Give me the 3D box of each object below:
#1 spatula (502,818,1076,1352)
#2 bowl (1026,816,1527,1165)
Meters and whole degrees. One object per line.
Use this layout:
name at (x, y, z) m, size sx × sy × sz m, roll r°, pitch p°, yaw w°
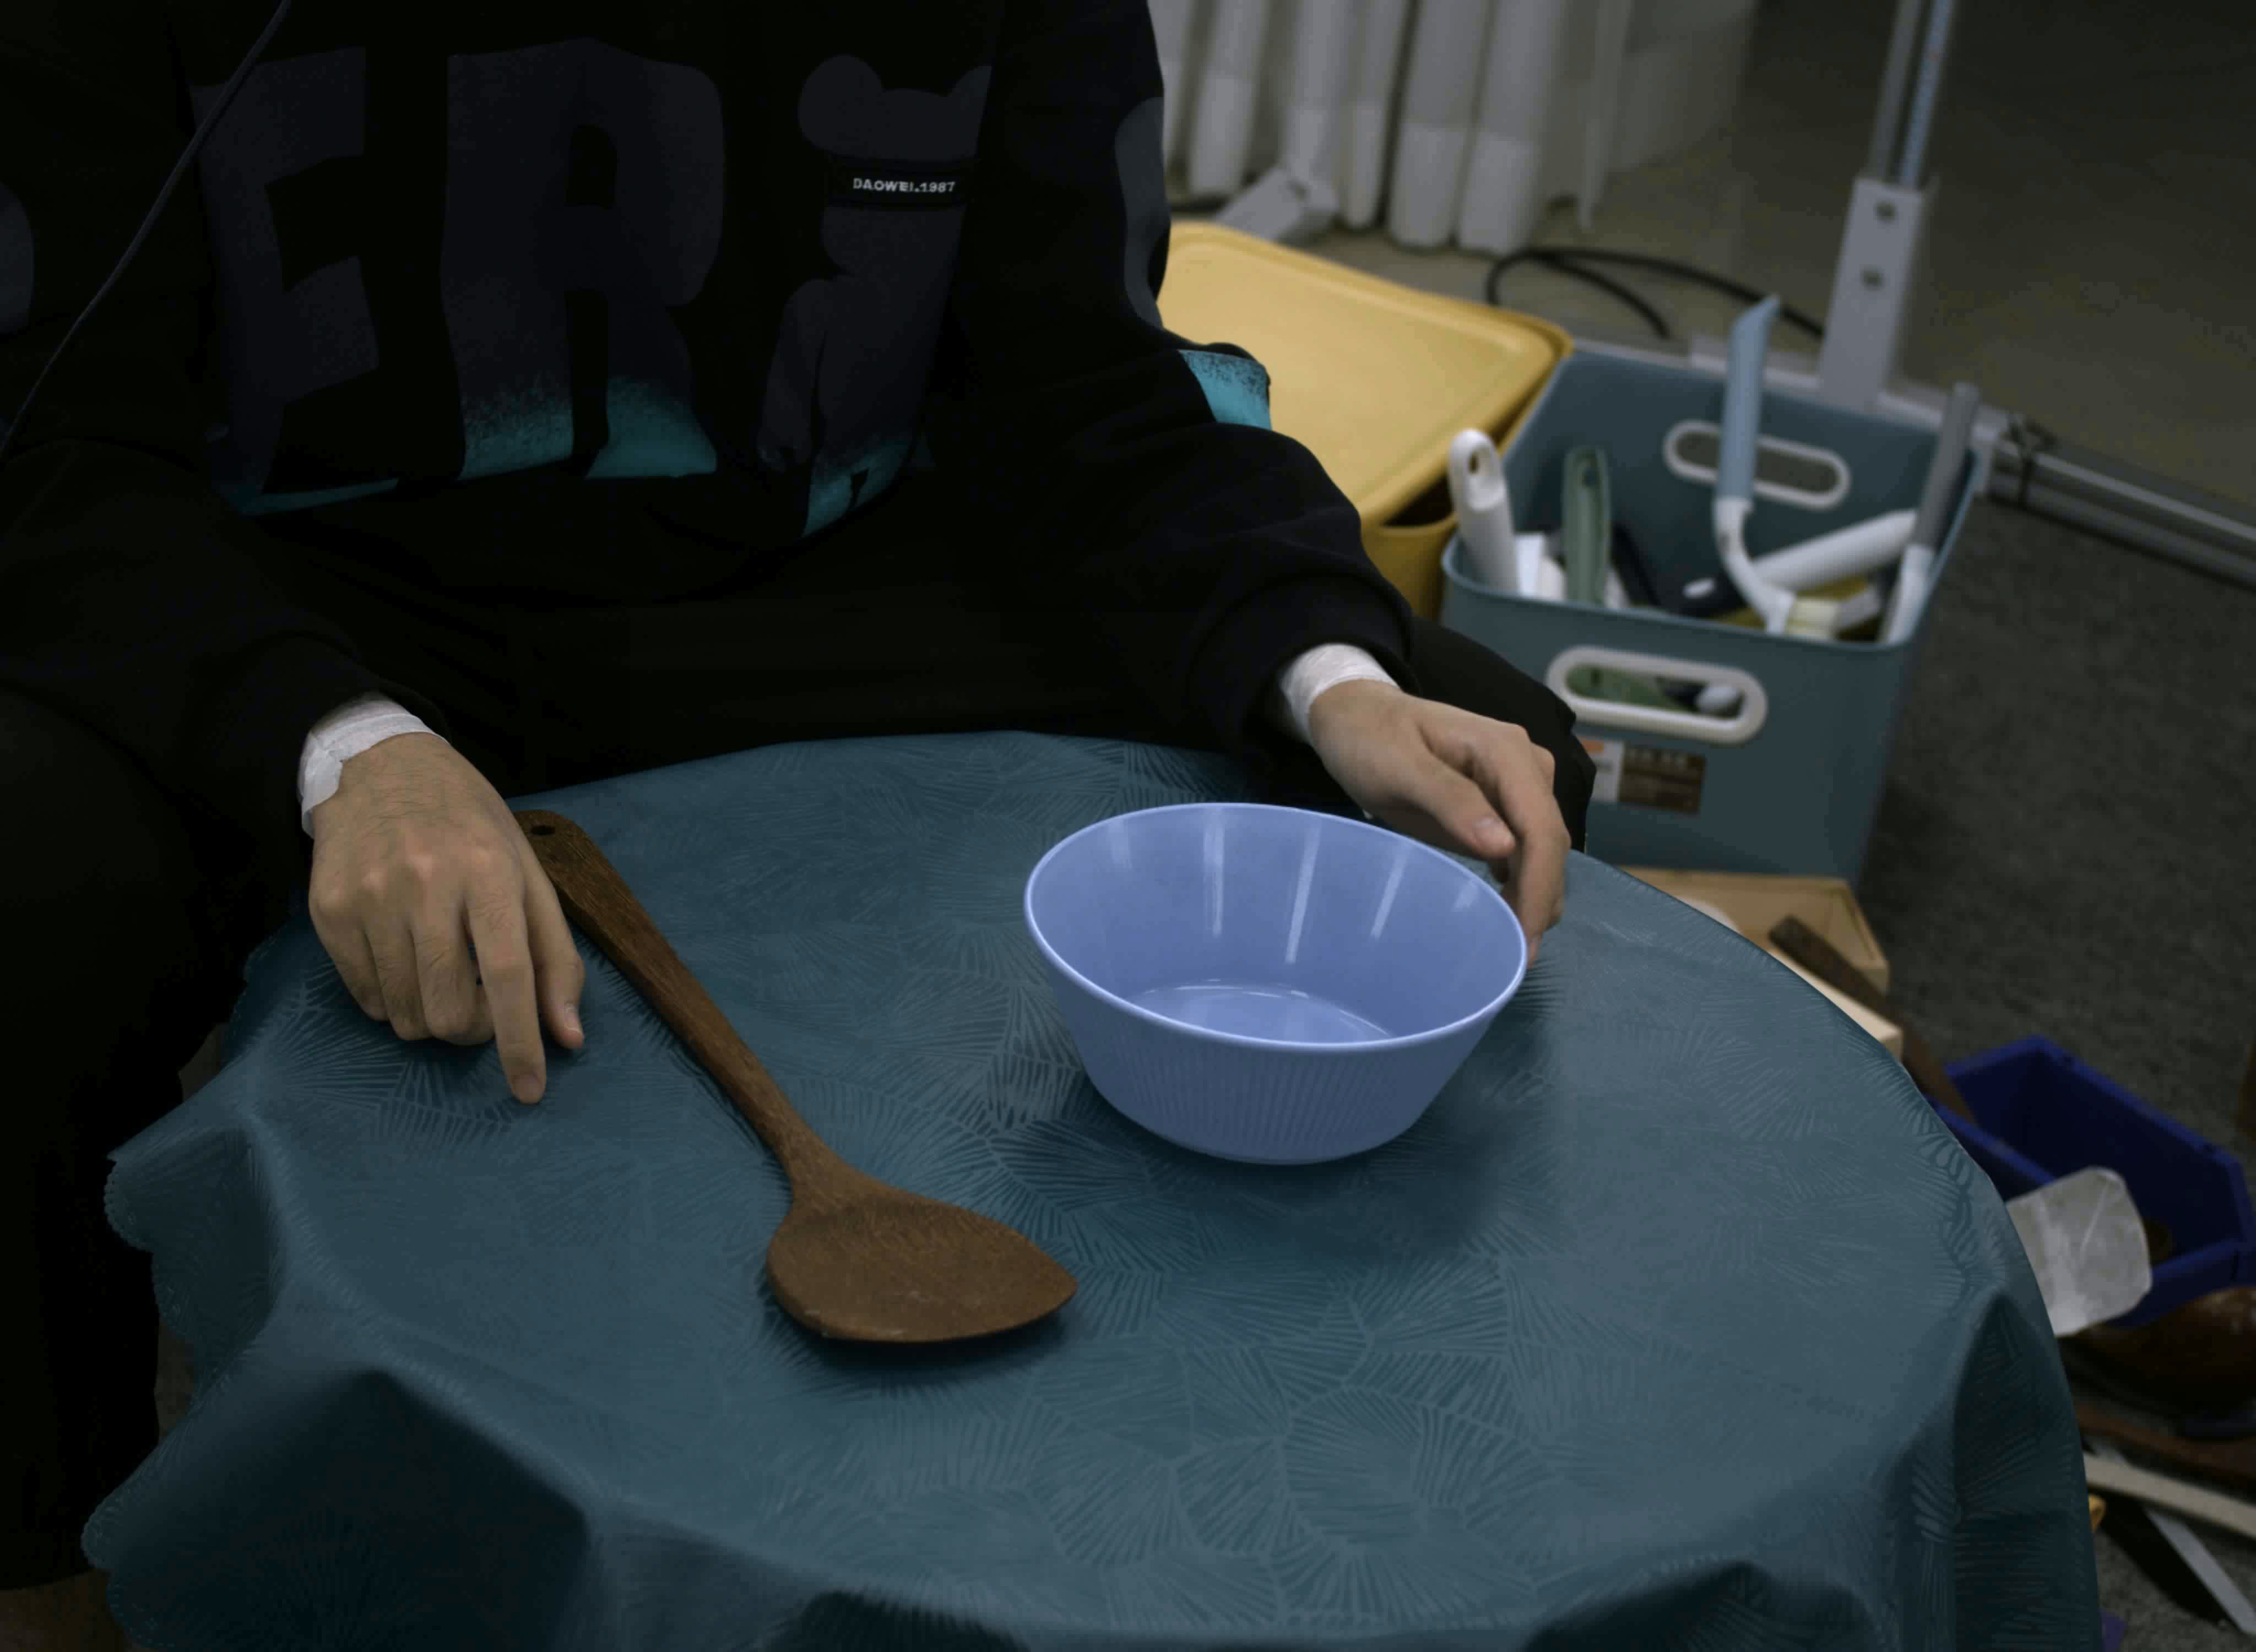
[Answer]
spatula at (-0.138, 0.081, 1.839) m, size 0.095 × 0.016 × 0.389 m, roll -8°, pitch 30°, yaw -27°
bowl at (0.048, 0.063, 1.855) m, size 0.175 × 0.070 × 0.177 m, roll 5°, pitch 25°, yaw -3°
